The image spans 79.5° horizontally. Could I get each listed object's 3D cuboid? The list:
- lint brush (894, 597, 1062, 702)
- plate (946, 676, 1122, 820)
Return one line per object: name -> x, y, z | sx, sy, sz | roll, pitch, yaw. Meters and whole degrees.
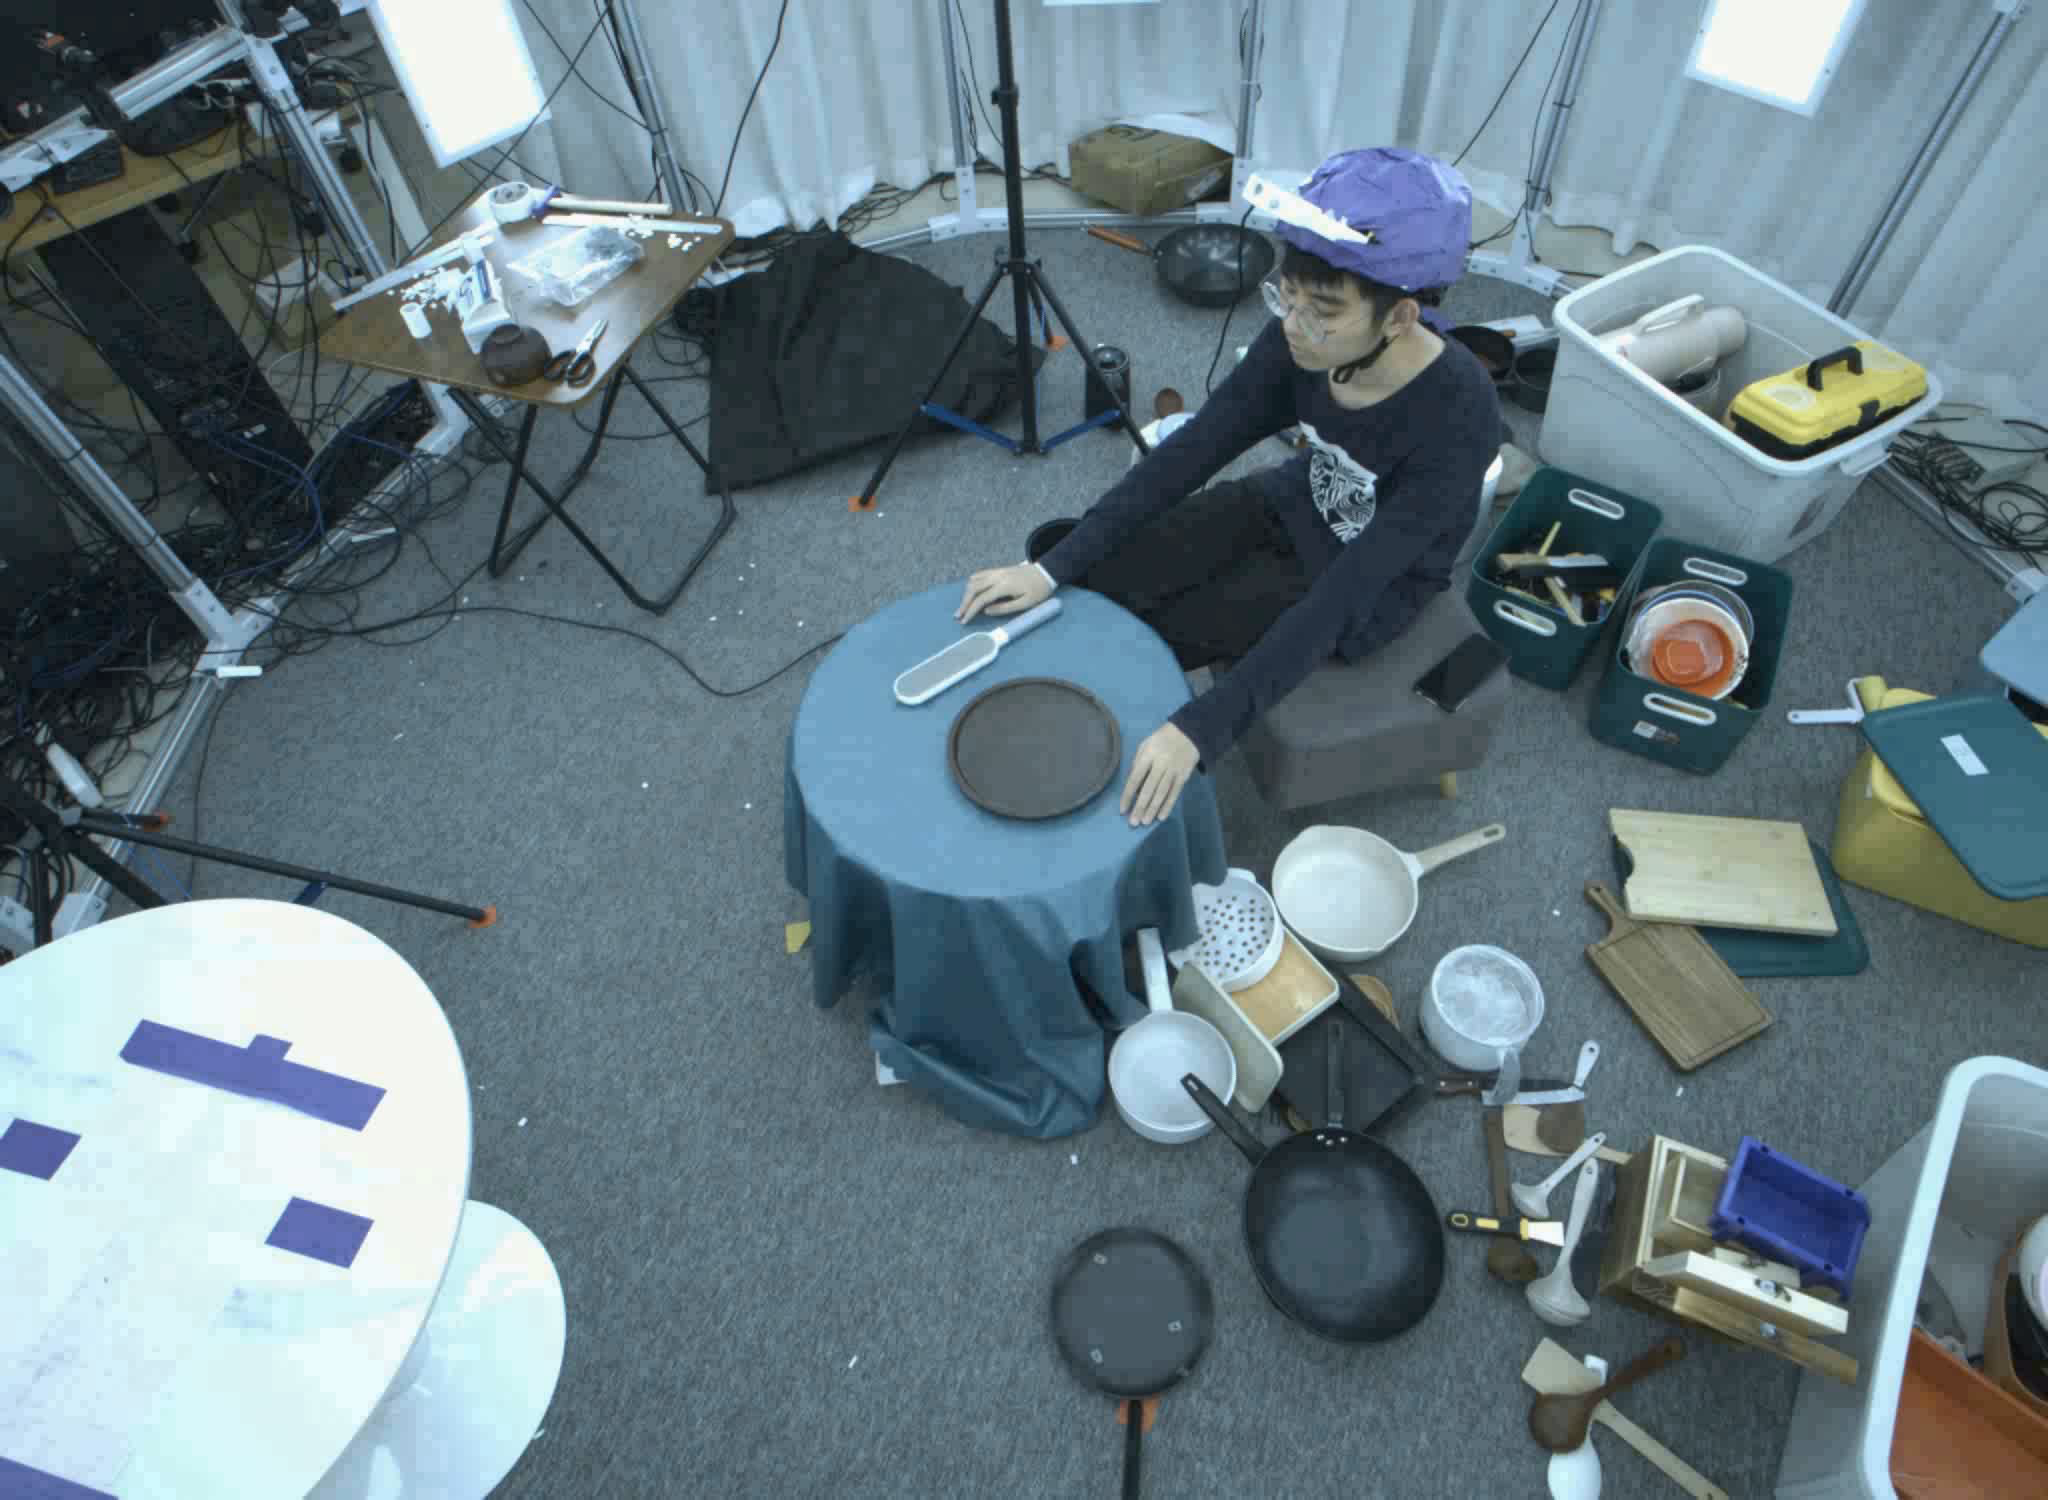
lint brush -> -0.067, -0.158, 1.893 | 0.311, 0.021, 0.059 | -32, 54, -20
plate -> 0.015, -0.005, 1.783 | 0.255, 0.029, 0.252 | 0, 56, 1
